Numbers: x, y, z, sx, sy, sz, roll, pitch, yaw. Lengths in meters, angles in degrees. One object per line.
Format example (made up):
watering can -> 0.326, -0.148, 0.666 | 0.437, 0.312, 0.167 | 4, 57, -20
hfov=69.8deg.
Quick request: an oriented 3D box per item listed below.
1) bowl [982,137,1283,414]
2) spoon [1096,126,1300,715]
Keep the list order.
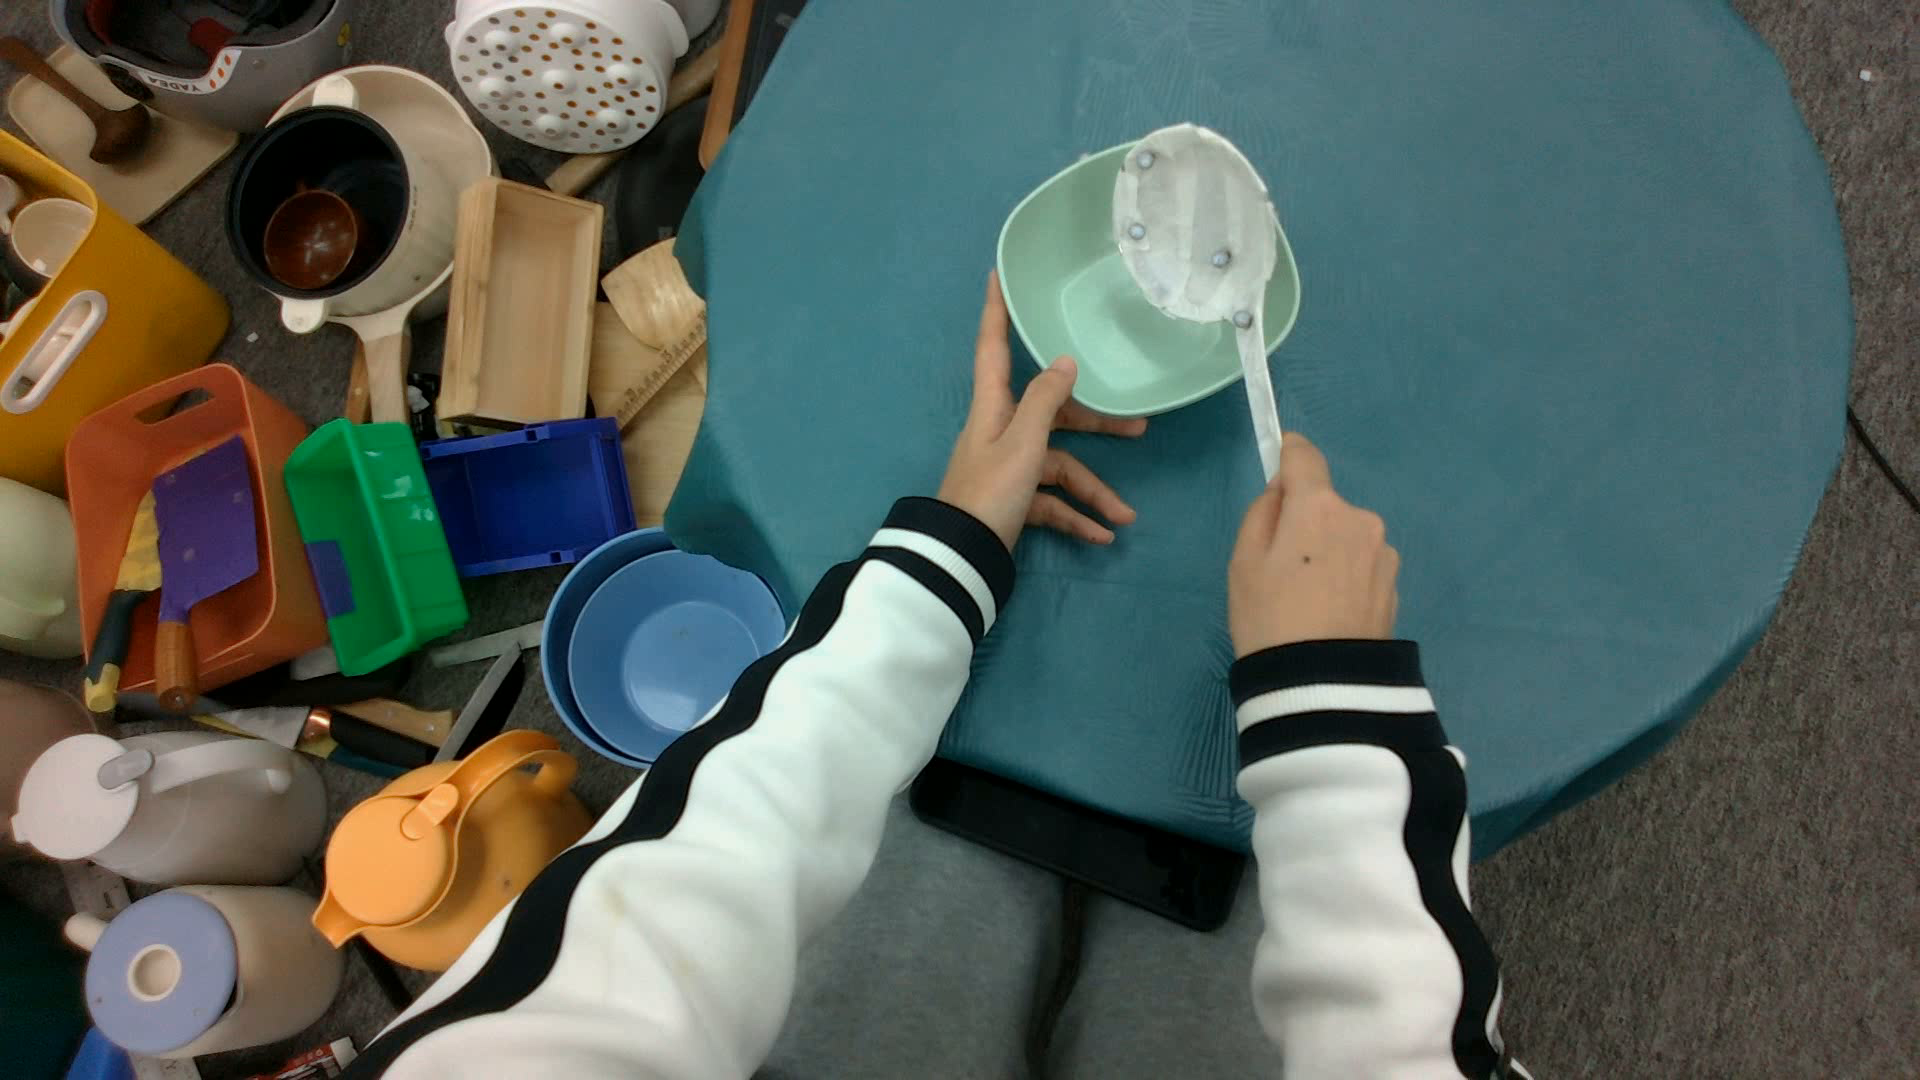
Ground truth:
bowl -> 0.086, -0.126, 0.705 | 0.151, 0.058, 0.152 | -1, 74, 3
spoon -> 0.105, -0.057, 0.624 | 0.059, 0.100, 0.278 | 5, 68, -21
